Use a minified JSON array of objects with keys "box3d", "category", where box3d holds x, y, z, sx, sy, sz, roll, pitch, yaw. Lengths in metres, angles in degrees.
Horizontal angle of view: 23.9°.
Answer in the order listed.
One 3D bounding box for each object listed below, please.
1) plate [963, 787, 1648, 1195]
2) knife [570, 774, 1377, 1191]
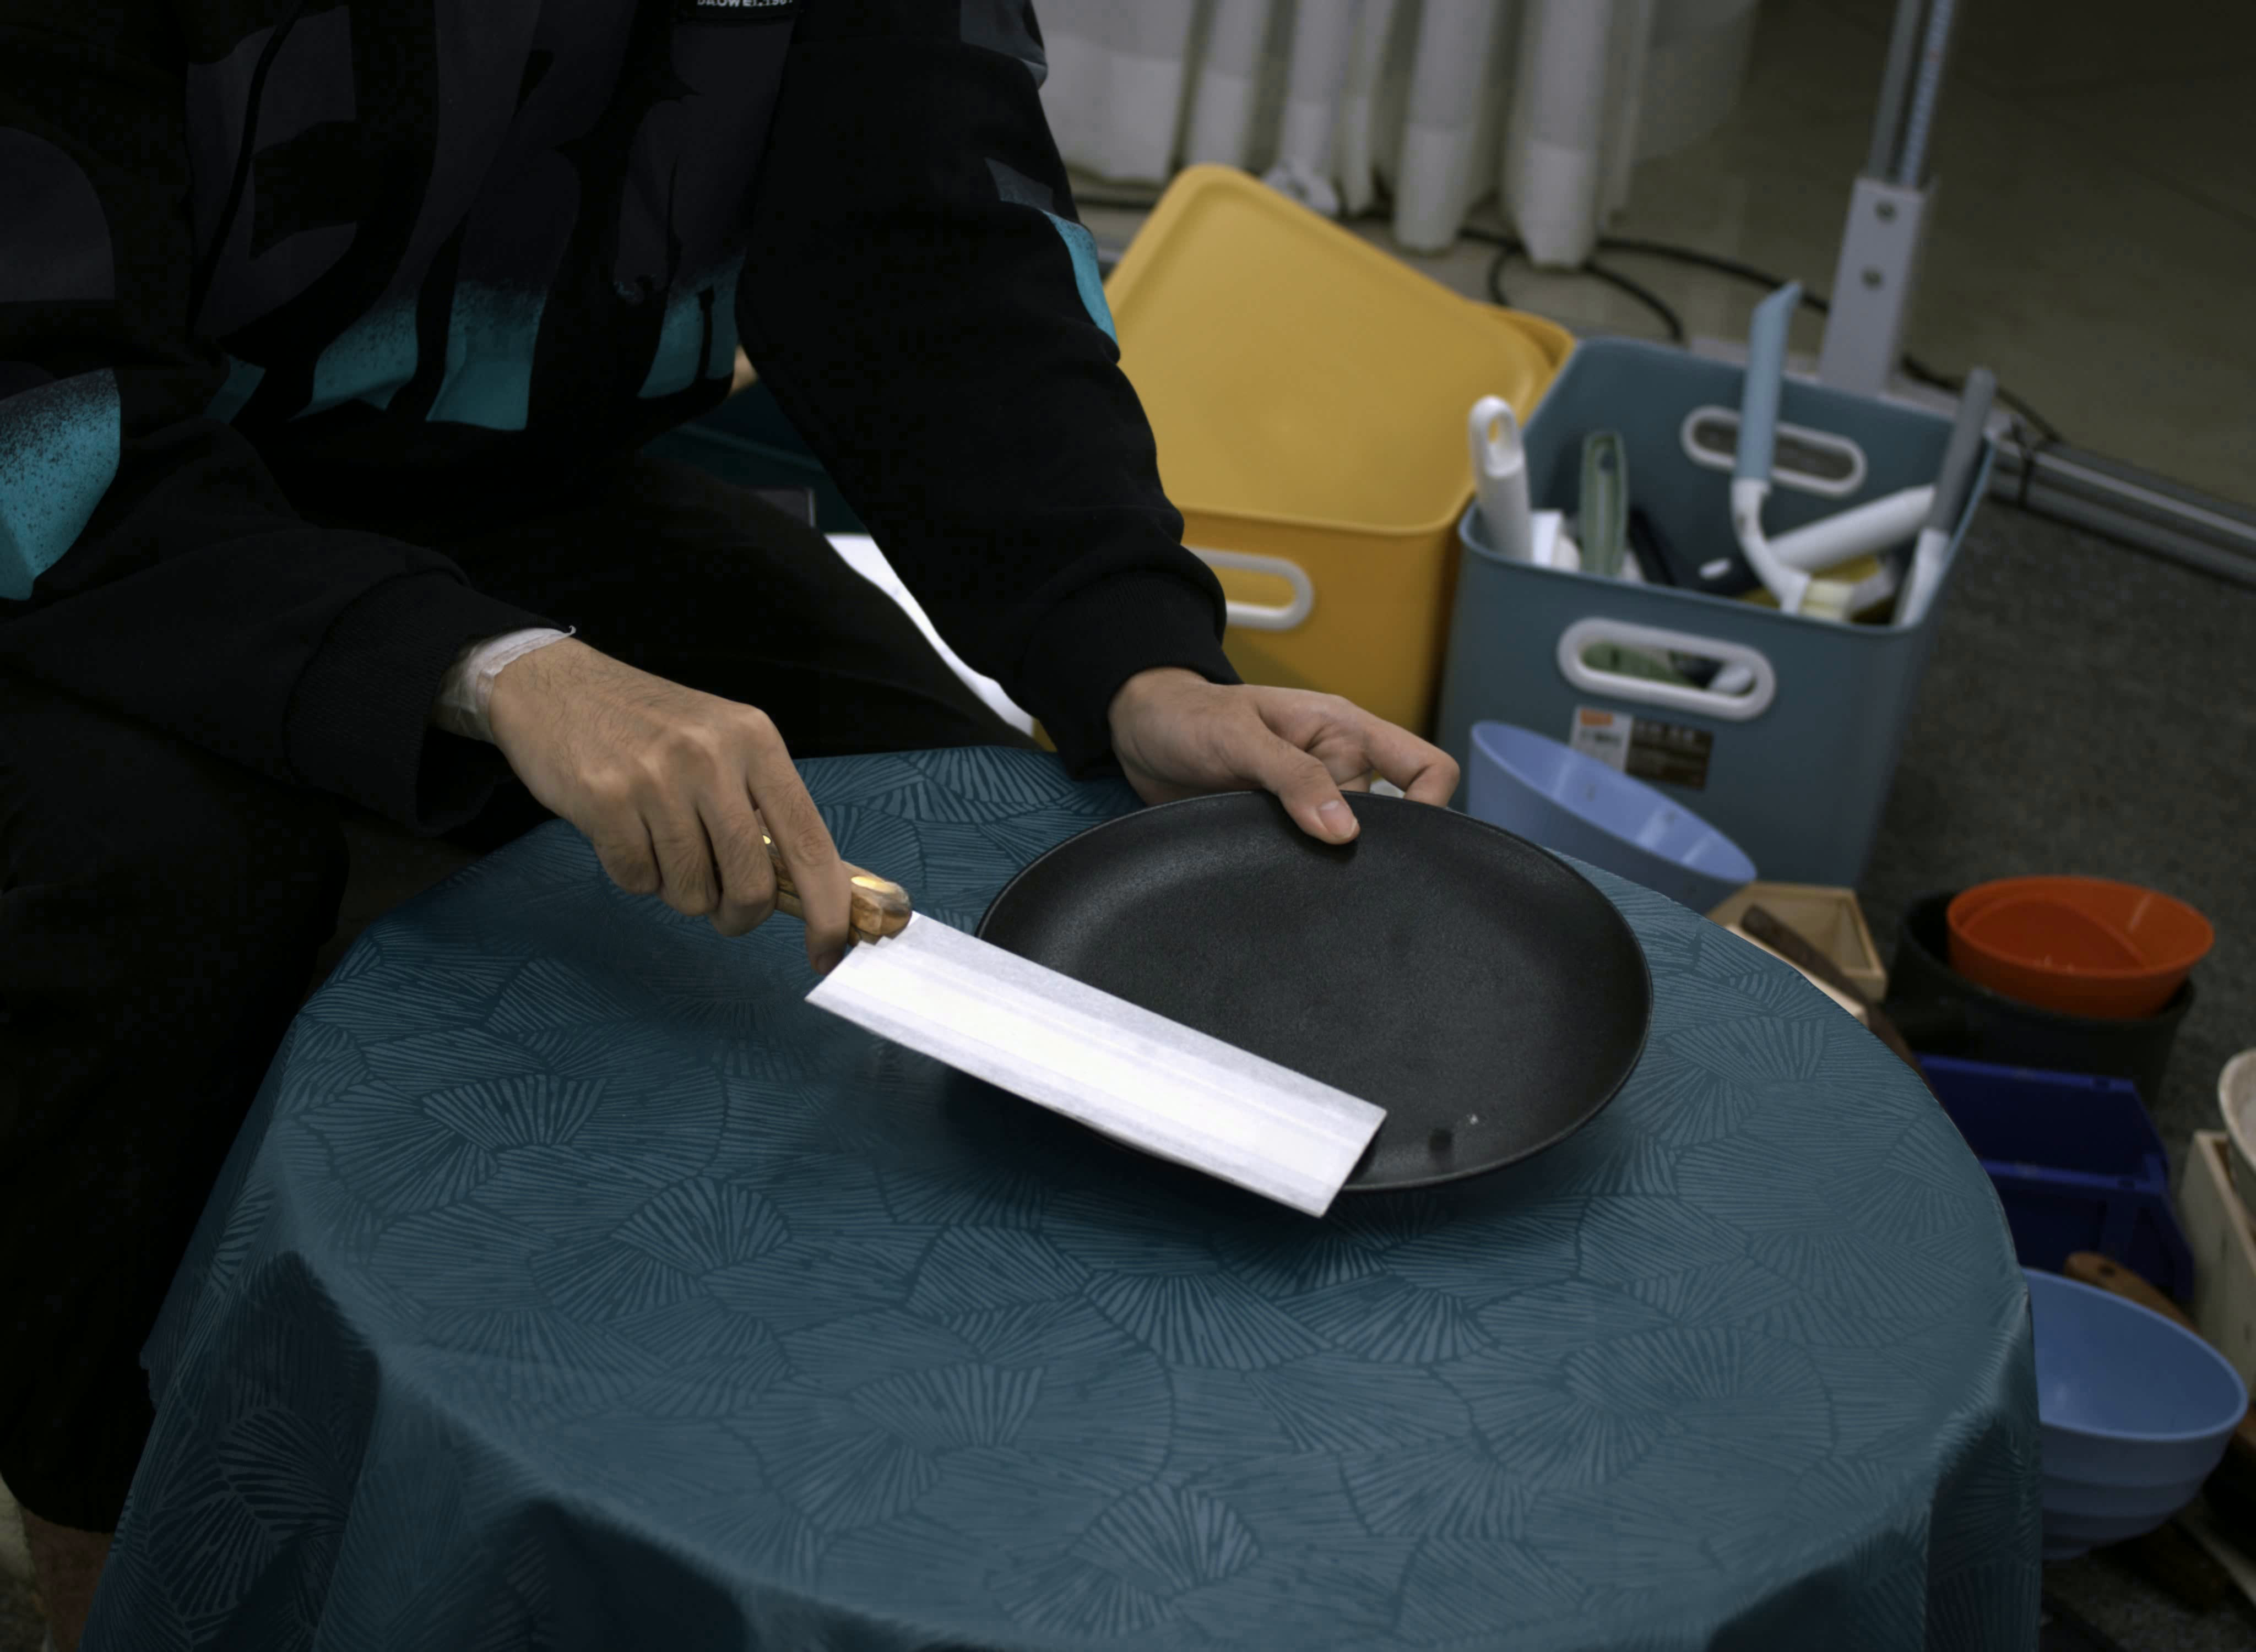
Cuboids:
[{"box3d":[0.062,0.062,1.883,0.243,0.023,0.246,1,34,-1],"category":"plate"},{"box3d":[-0.061,0.057,1.824,0.306,0.021,0.093,22,26,10],"category":"knife"}]
